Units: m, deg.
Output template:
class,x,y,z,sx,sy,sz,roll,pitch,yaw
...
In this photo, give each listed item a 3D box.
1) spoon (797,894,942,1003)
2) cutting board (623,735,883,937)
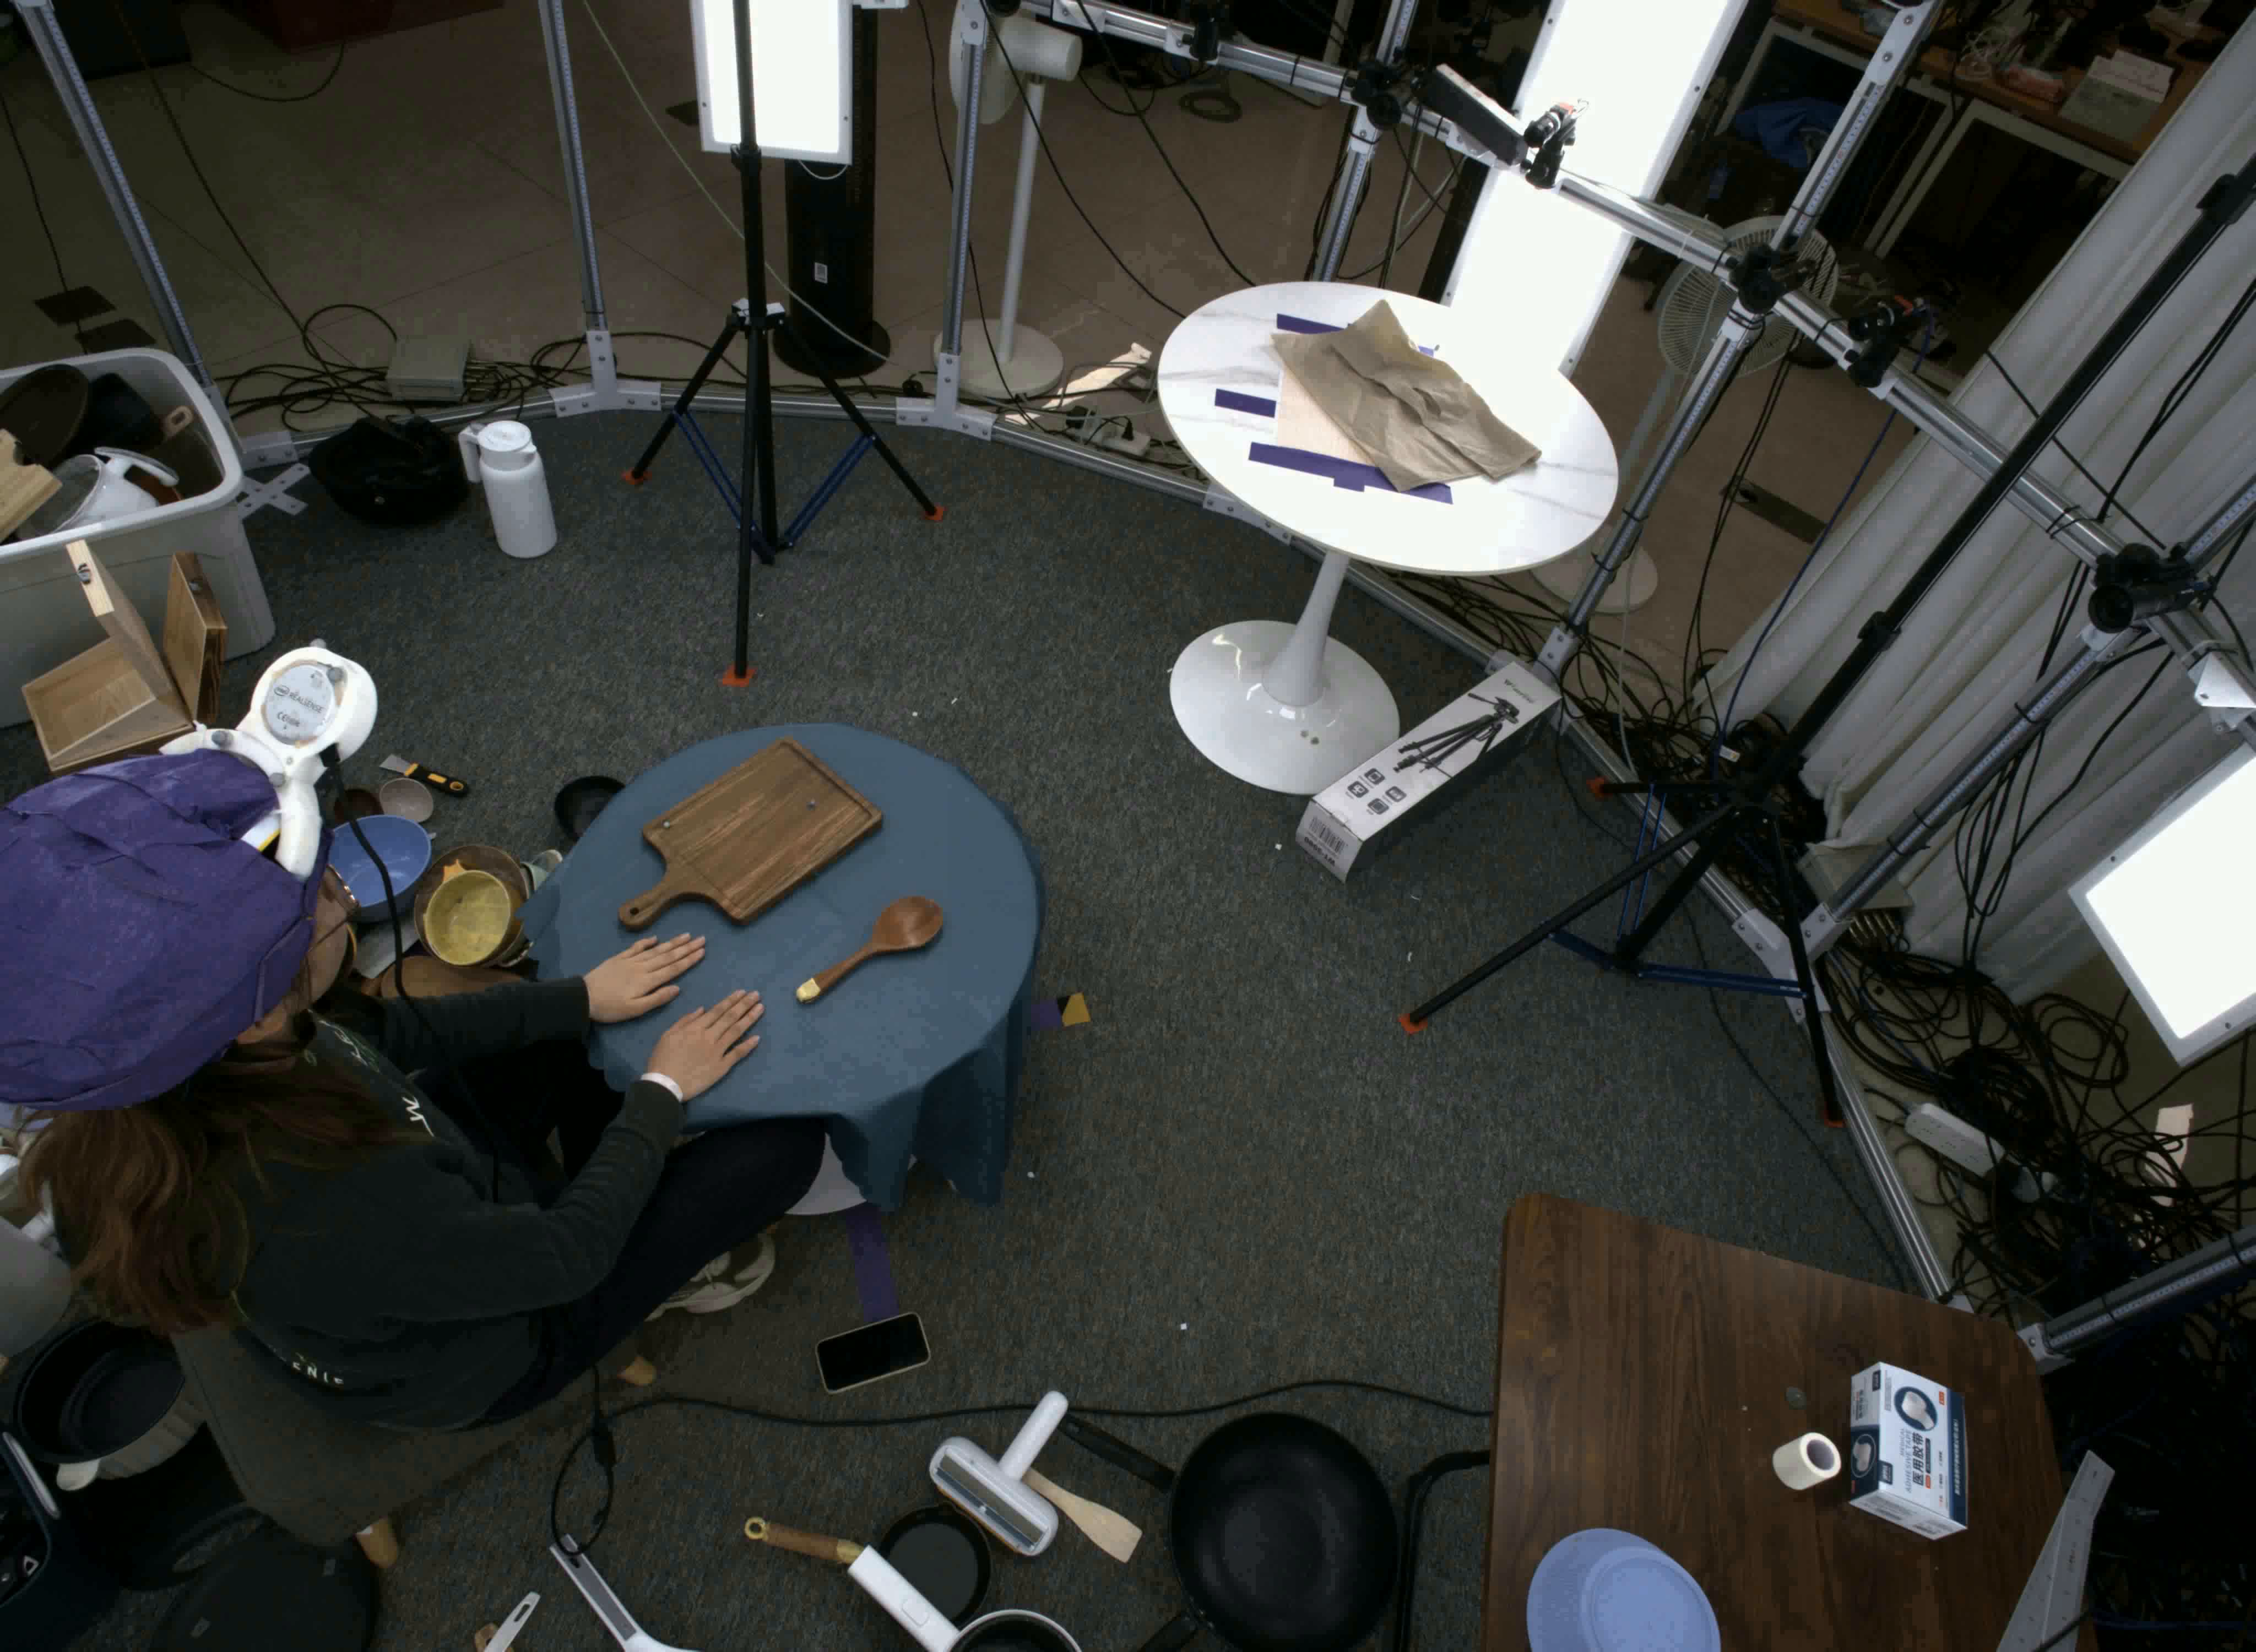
class,x,y,z,sx,sy,sz,roll,pitch,yaw
spoon,-0.324,0.153,1.629,0.074,0.017,0.216,44,55,16
cutting board,-0.509,0.027,1.676,0.197,0.023,0.352,39,55,14
